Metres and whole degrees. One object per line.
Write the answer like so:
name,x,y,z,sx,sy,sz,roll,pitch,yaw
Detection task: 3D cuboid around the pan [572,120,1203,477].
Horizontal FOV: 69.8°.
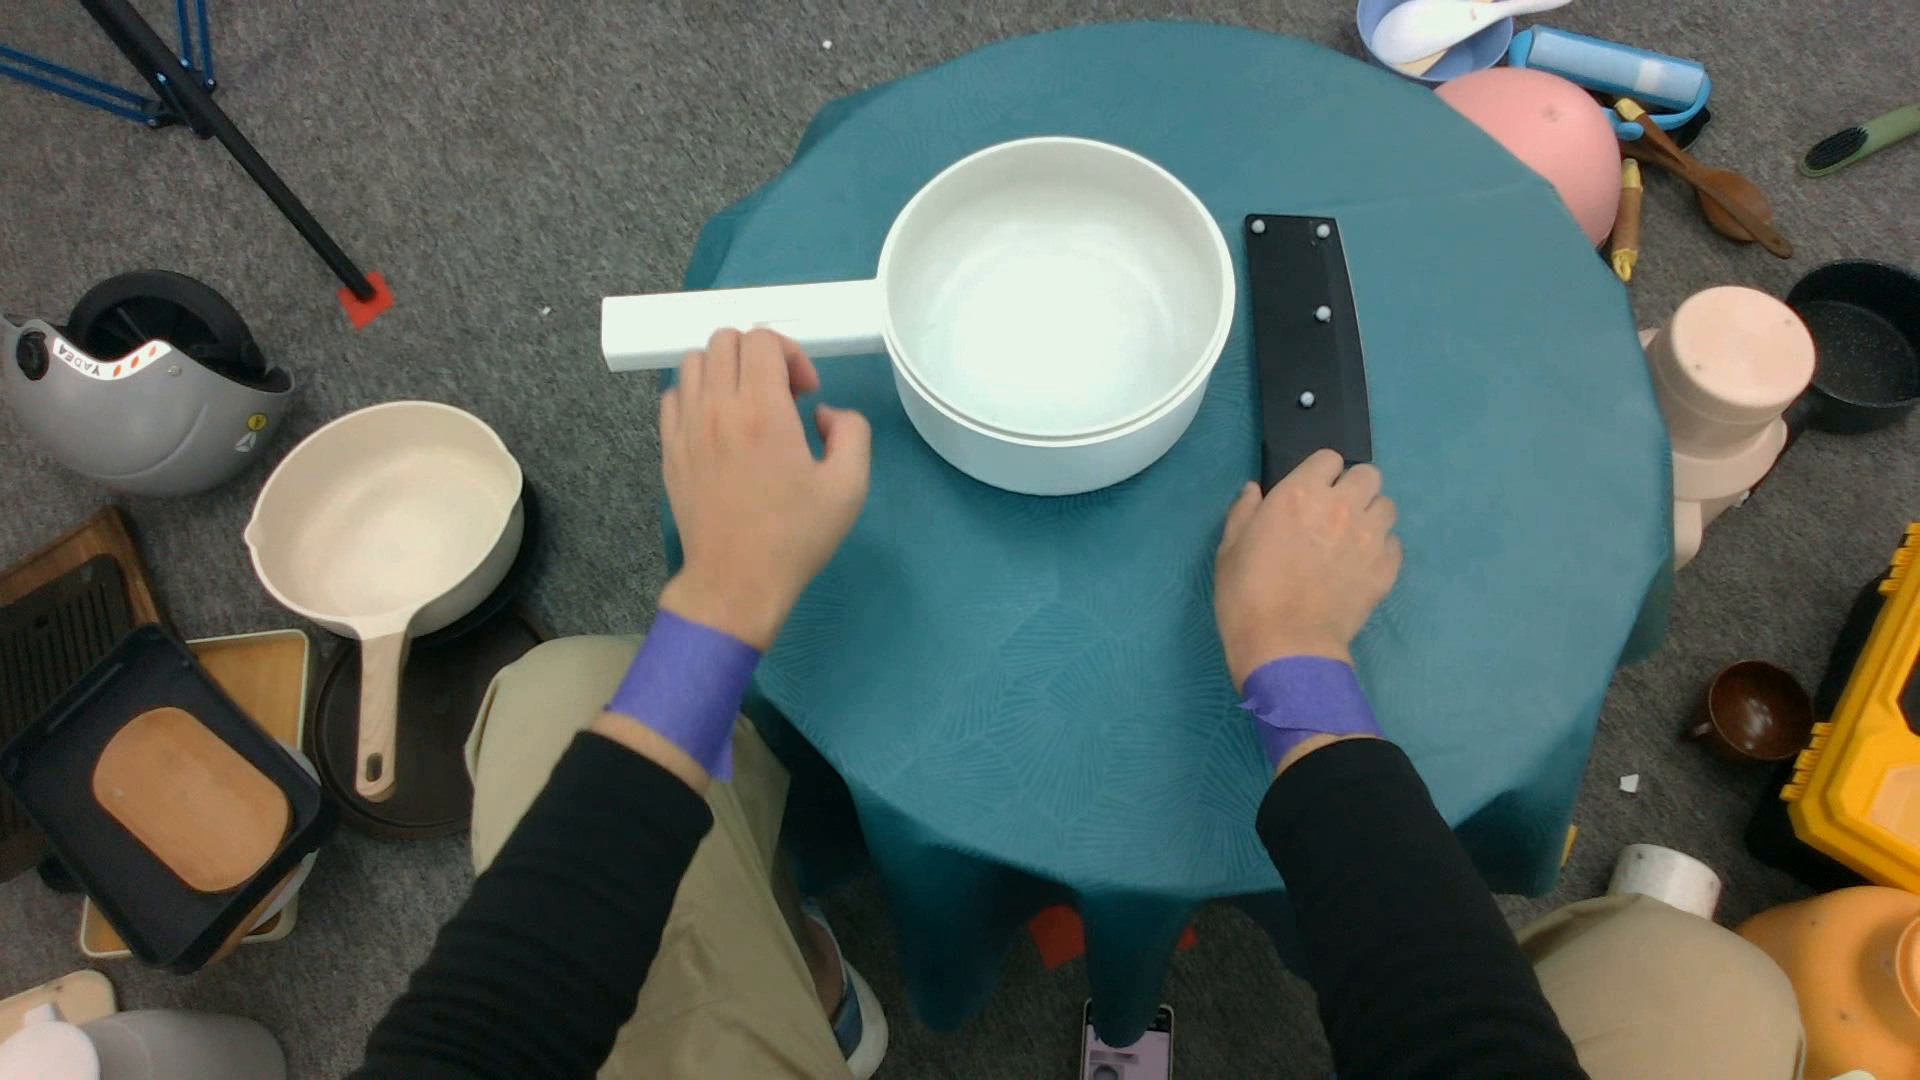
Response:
pan,-0.039,-0.129,0.812,0.355,0.102,0.202,-5,68,0

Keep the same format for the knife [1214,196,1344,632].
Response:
knife,0.194,-0.088,0.835,0.081,0.021,0.303,5,65,-1
